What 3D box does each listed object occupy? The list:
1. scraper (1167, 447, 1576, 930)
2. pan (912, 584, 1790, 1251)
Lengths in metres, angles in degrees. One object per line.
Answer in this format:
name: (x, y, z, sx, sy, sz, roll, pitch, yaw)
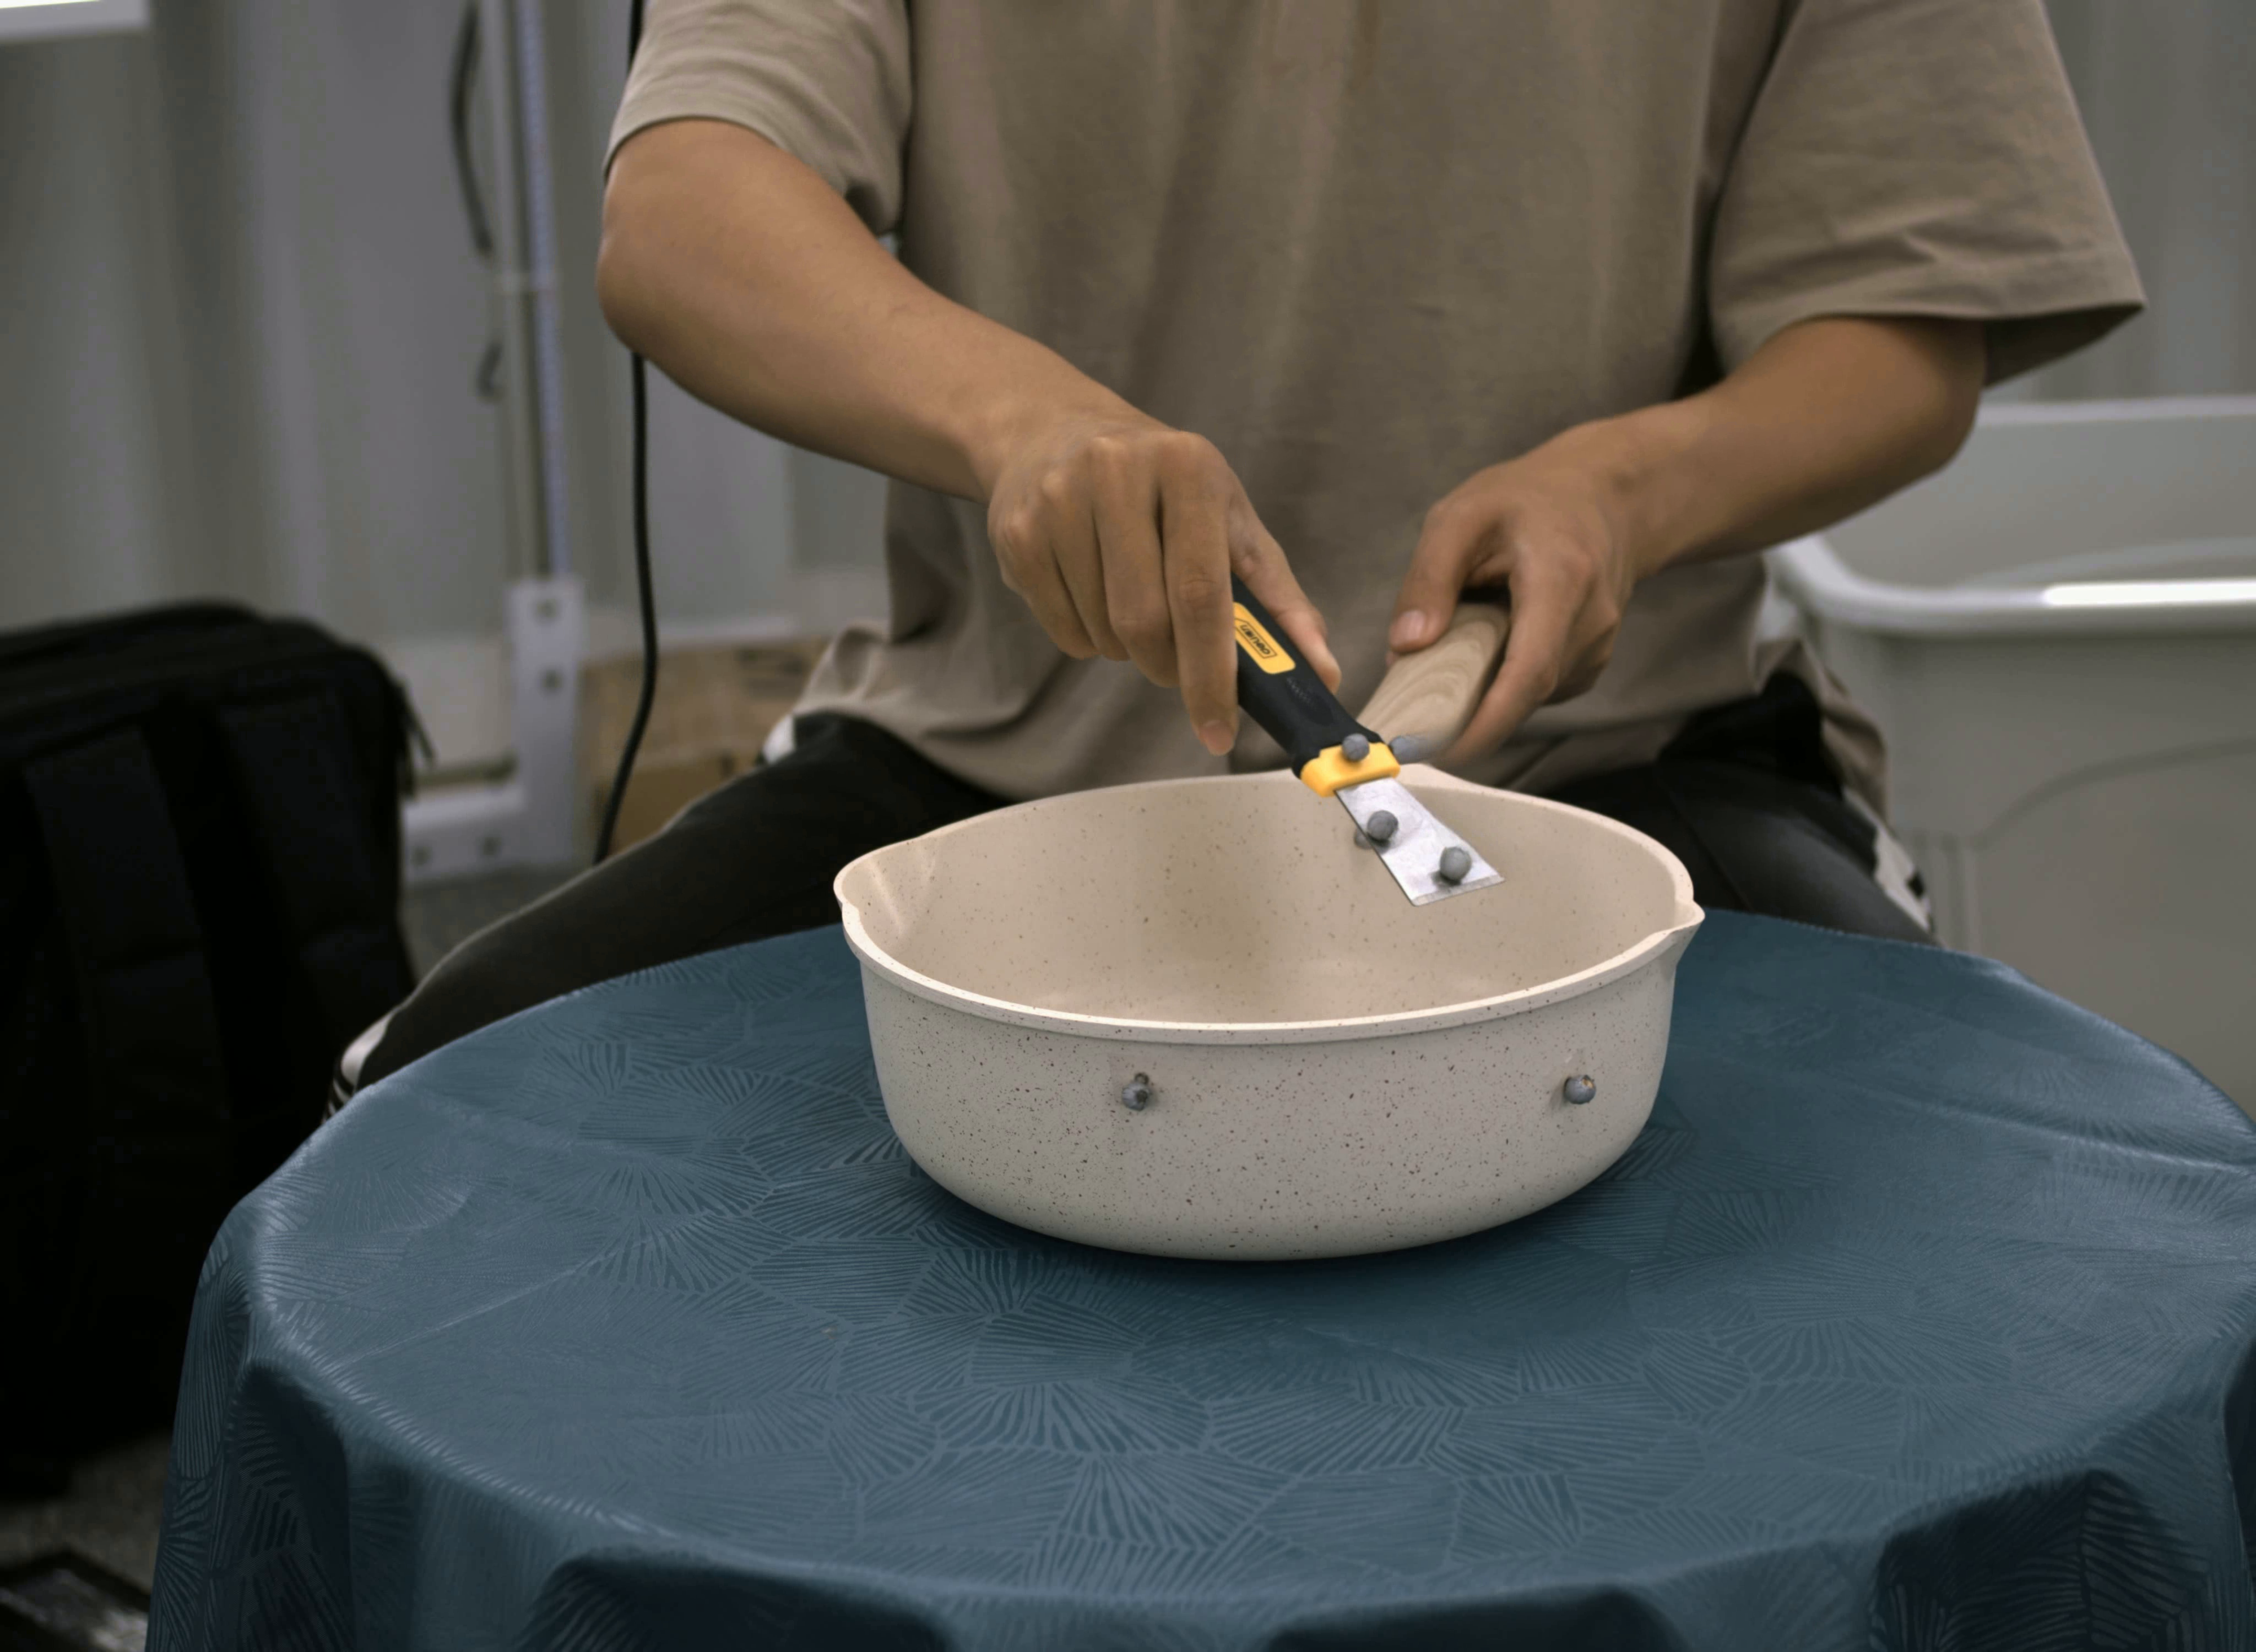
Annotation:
scraper: (0.069, -0.042, 1.562, 0.038, 0.172, 0.015, -31, -10, -43)
pan: (0.091, 0.024, 1.652, 0.266, 0.102, 0.431, 0, 16, 17)
